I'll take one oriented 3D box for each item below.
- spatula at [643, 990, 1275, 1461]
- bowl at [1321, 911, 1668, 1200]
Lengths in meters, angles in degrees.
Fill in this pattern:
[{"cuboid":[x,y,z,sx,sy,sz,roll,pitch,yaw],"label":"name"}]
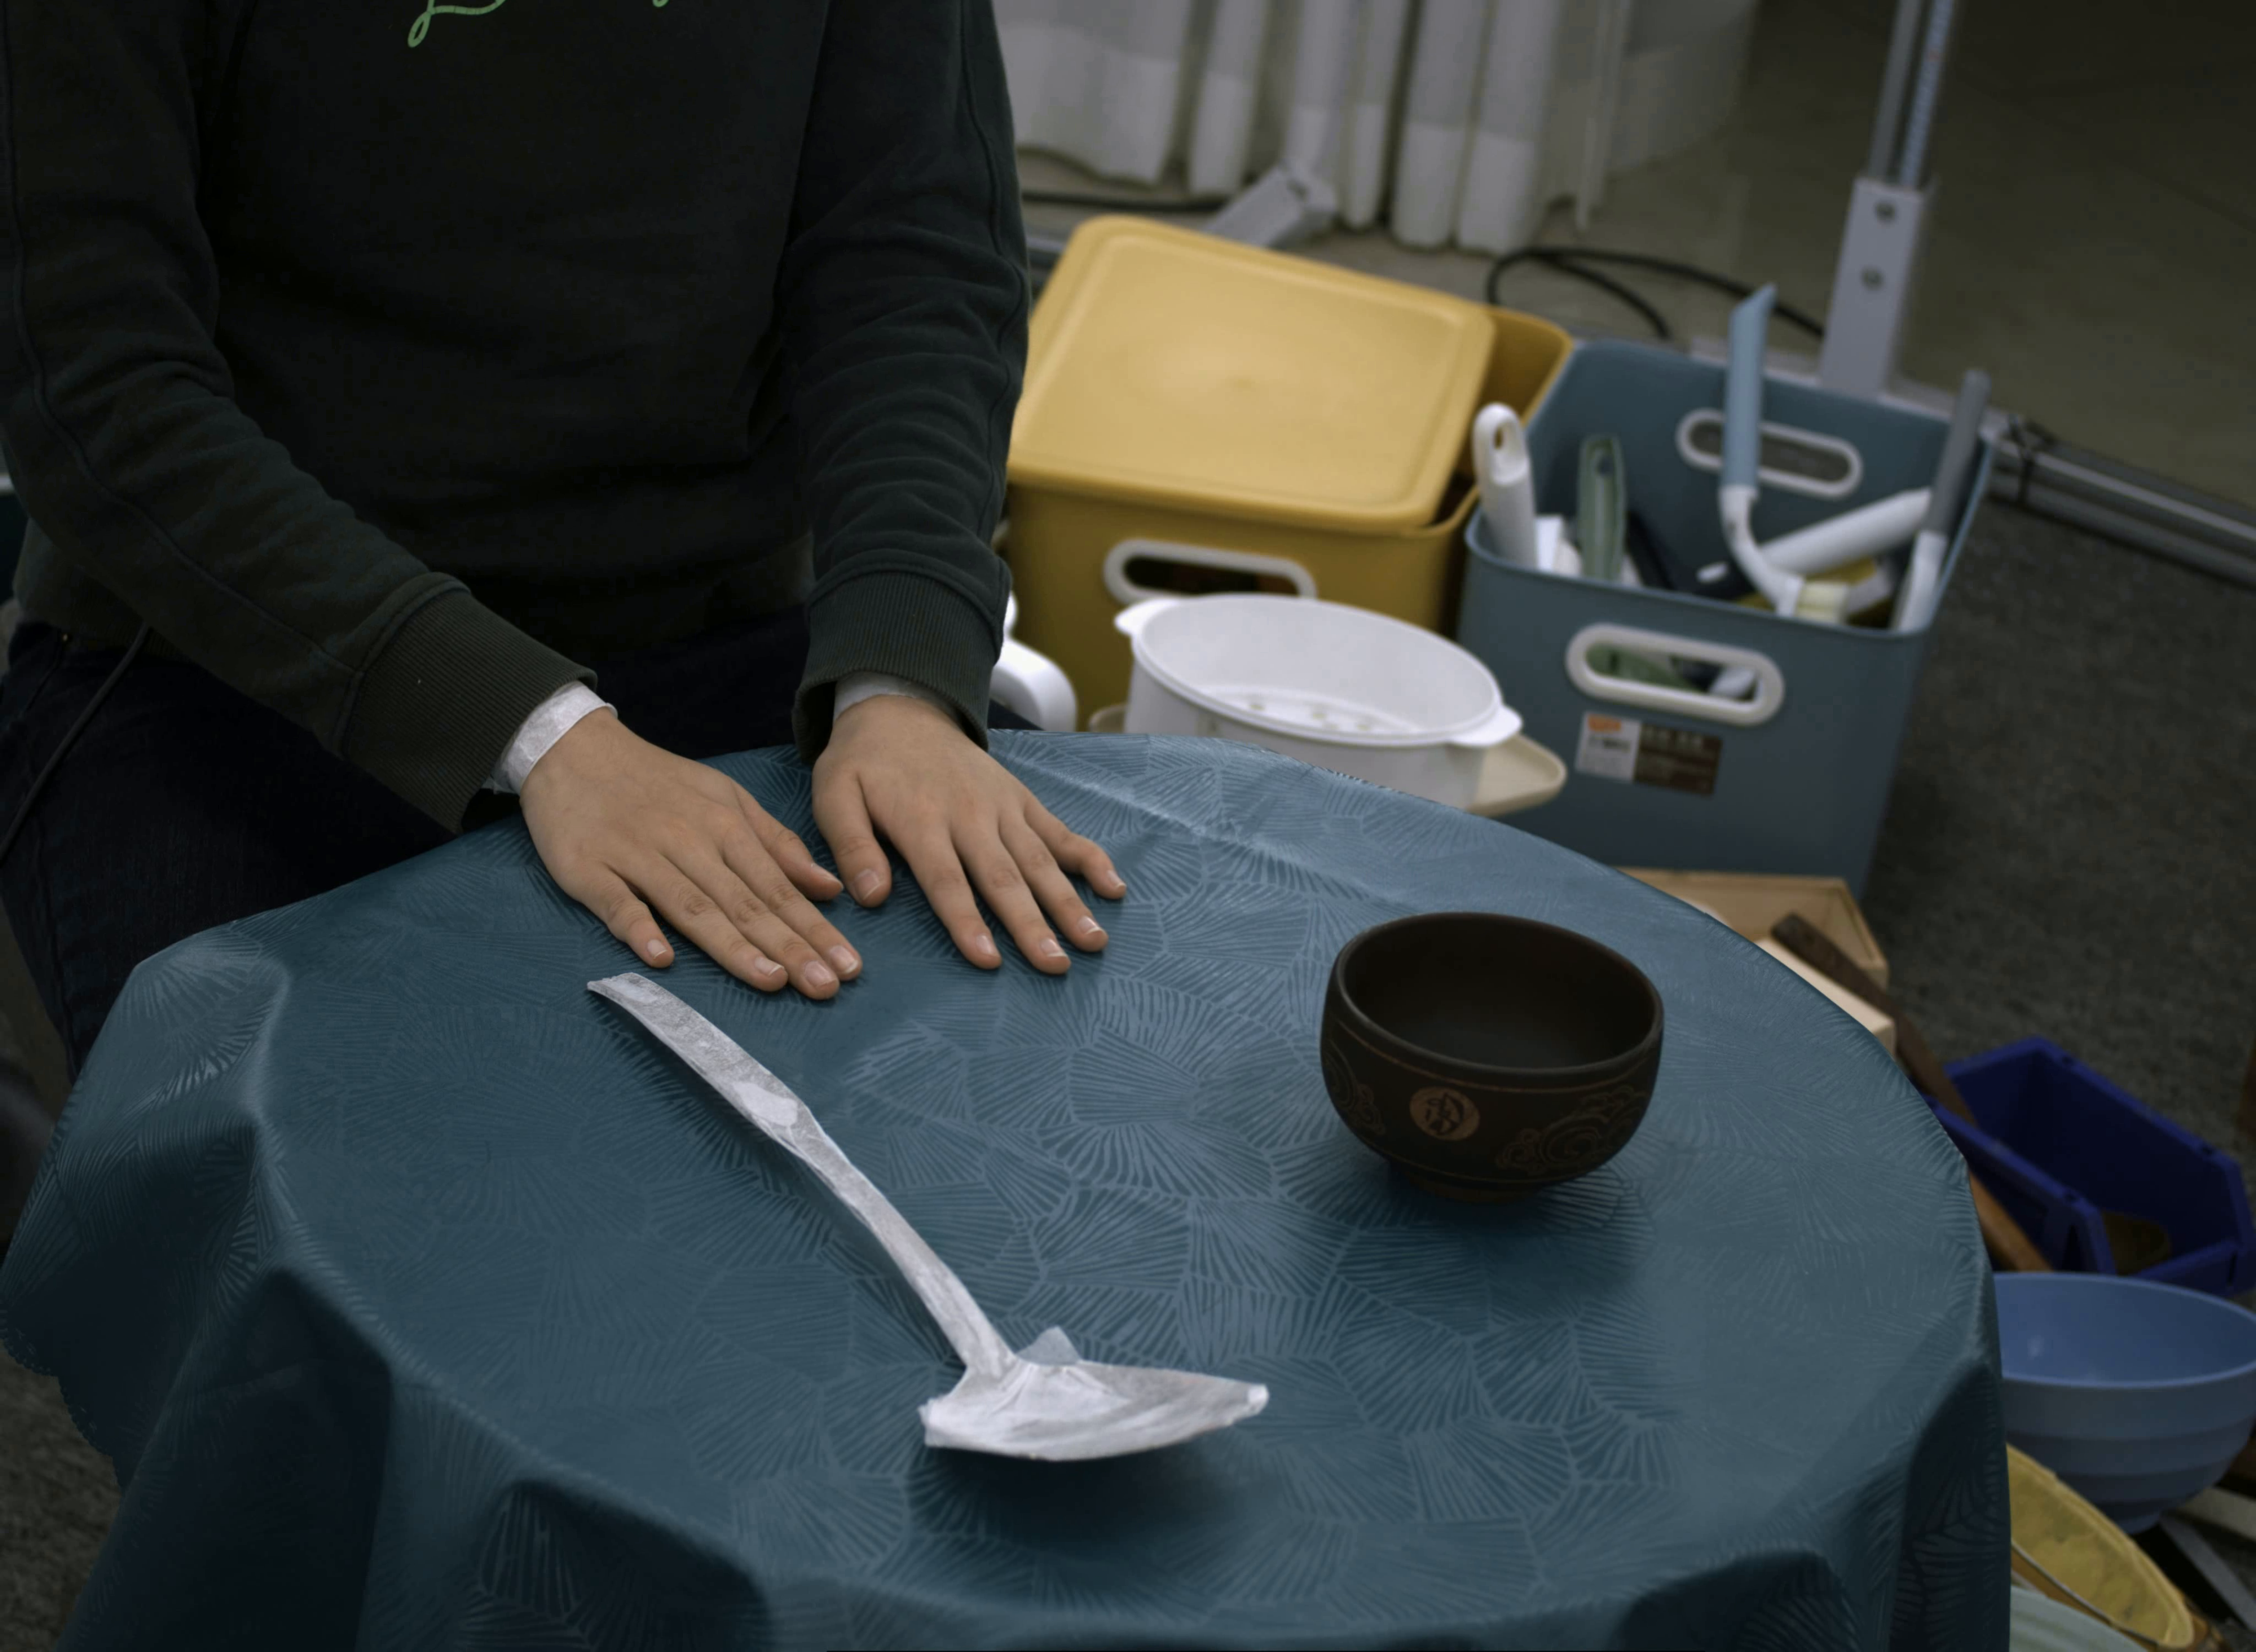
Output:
[{"cuboid":[-0.080,0.122,1.742,0.098,0.044,0.368,-11,32,-28],"label":"spatula"},{"cuboid":[0.123,0.085,1.826,0.117,0.069,0.118,5,24,-3],"label":"bowl"}]
